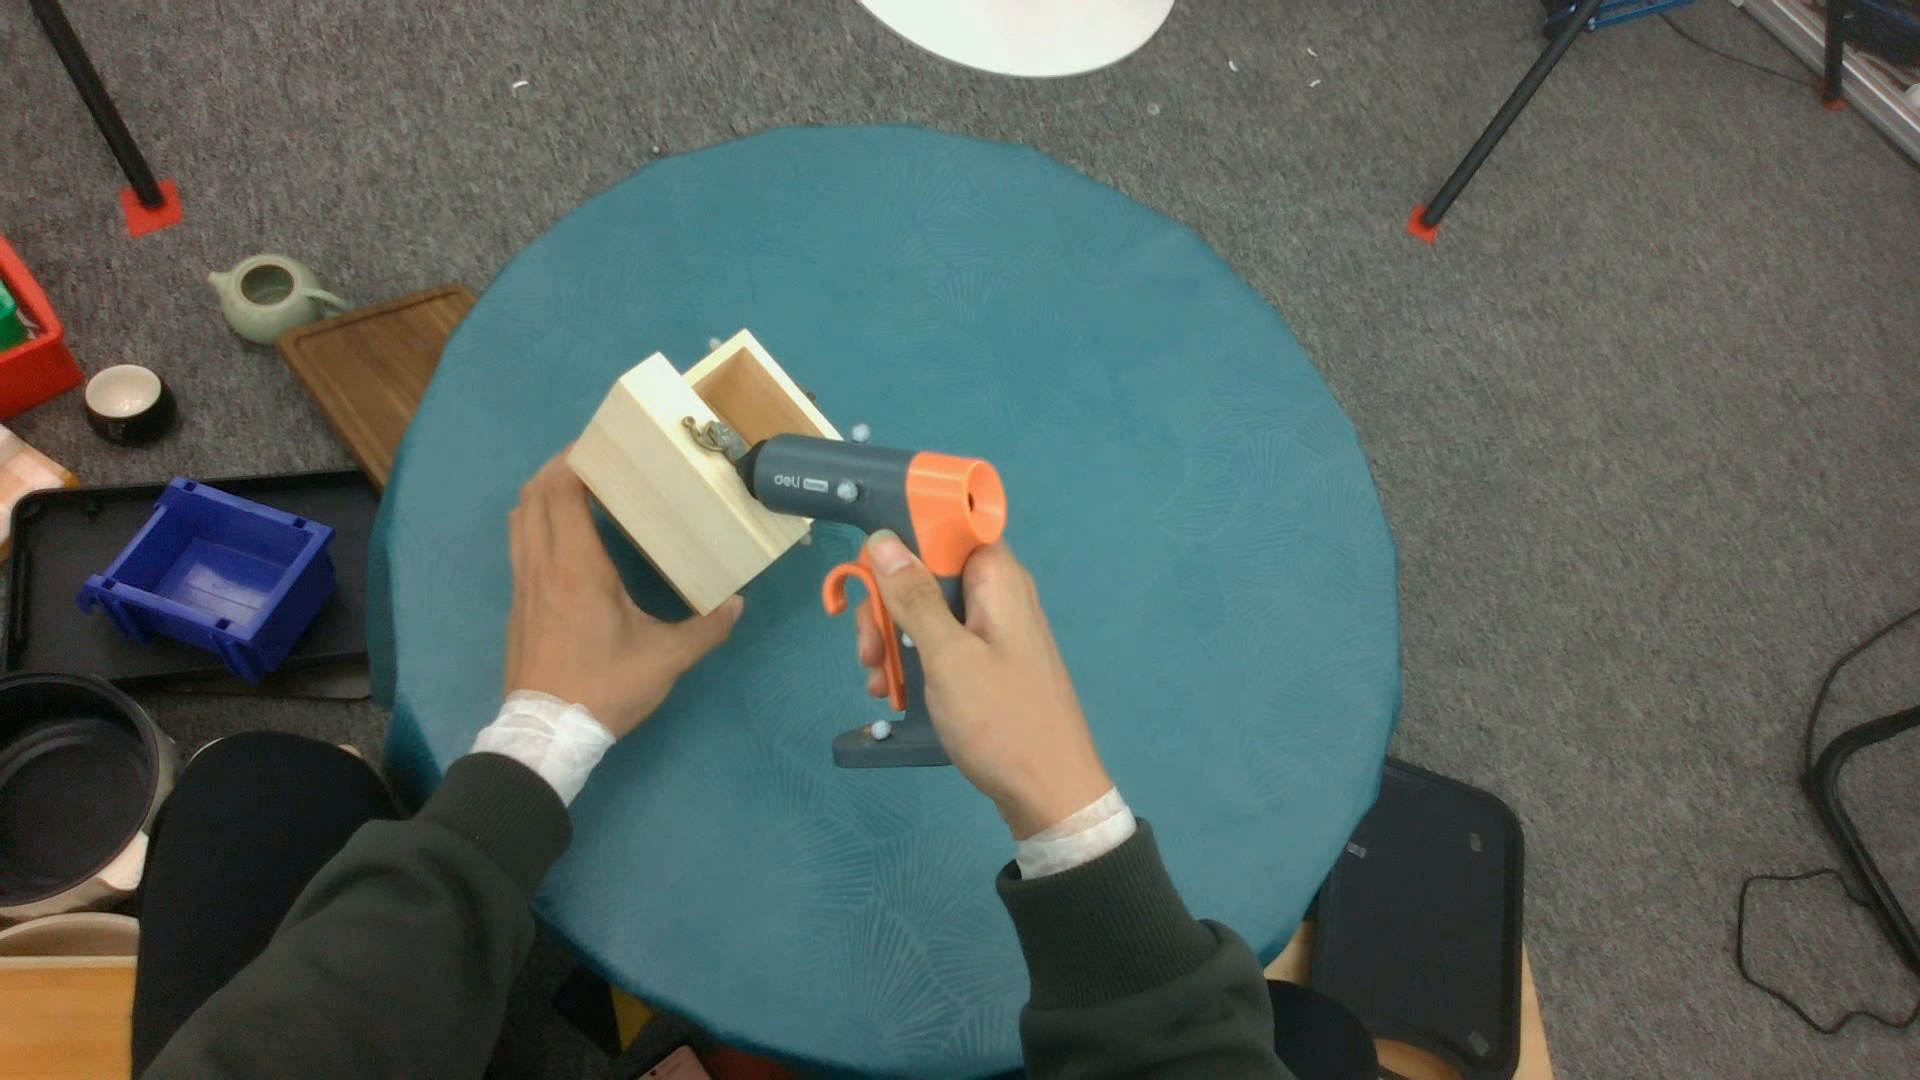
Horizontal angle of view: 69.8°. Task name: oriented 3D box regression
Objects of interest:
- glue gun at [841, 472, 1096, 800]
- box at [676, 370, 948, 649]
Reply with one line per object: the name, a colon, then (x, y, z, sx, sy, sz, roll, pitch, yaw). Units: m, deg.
glue gun: (0.004, 0.036, 0.580, 0.041, 0.117, 0.140, -11, 92, -53)
box: (-0.064, -0.026, 0.713, 0.134, 0.183, 0.102, -41, 91, -28)
